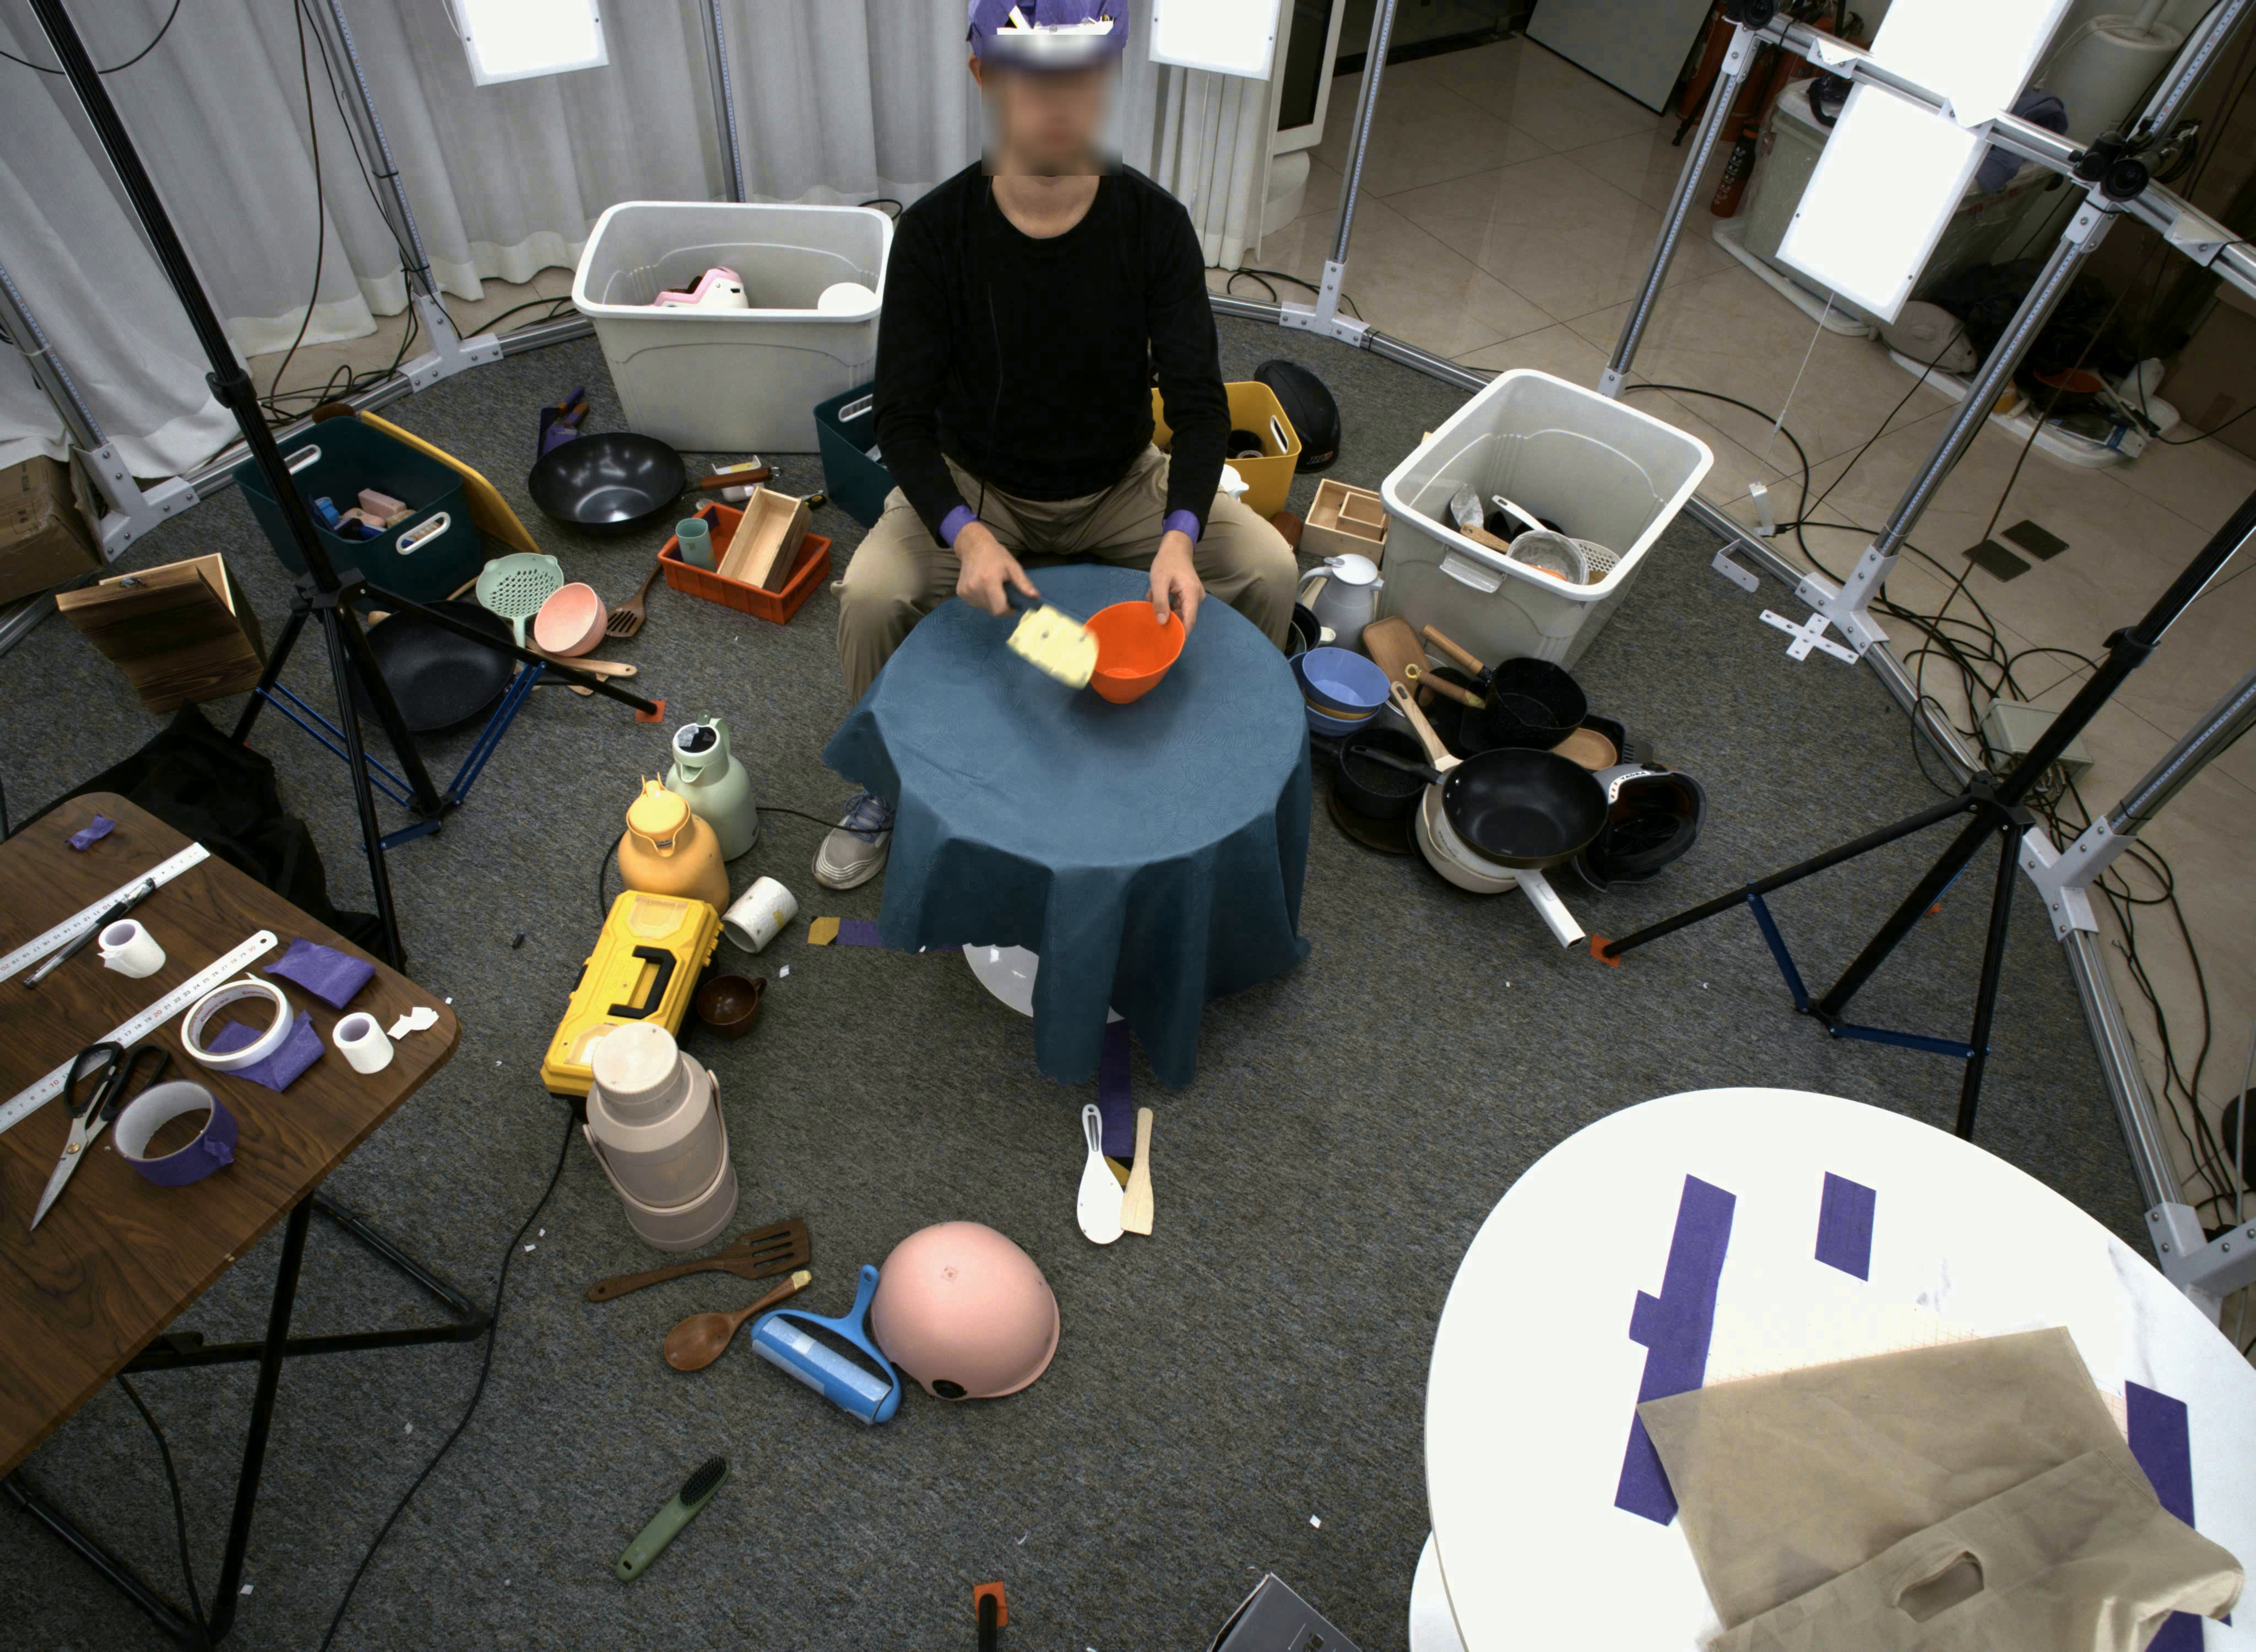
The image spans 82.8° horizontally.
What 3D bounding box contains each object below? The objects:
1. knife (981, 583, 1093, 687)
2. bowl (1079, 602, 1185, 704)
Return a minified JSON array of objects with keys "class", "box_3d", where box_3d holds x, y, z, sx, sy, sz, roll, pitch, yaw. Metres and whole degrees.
[{"class":"knife","box_3d":[-0.134,-0.268,1.784,0.081,0.026,0.295,-46,48,-1]},{"class":"bowl","box_3d":[0.003,-0.232,1.805,0.148,0.102,0.152,2,51,-2]}]
